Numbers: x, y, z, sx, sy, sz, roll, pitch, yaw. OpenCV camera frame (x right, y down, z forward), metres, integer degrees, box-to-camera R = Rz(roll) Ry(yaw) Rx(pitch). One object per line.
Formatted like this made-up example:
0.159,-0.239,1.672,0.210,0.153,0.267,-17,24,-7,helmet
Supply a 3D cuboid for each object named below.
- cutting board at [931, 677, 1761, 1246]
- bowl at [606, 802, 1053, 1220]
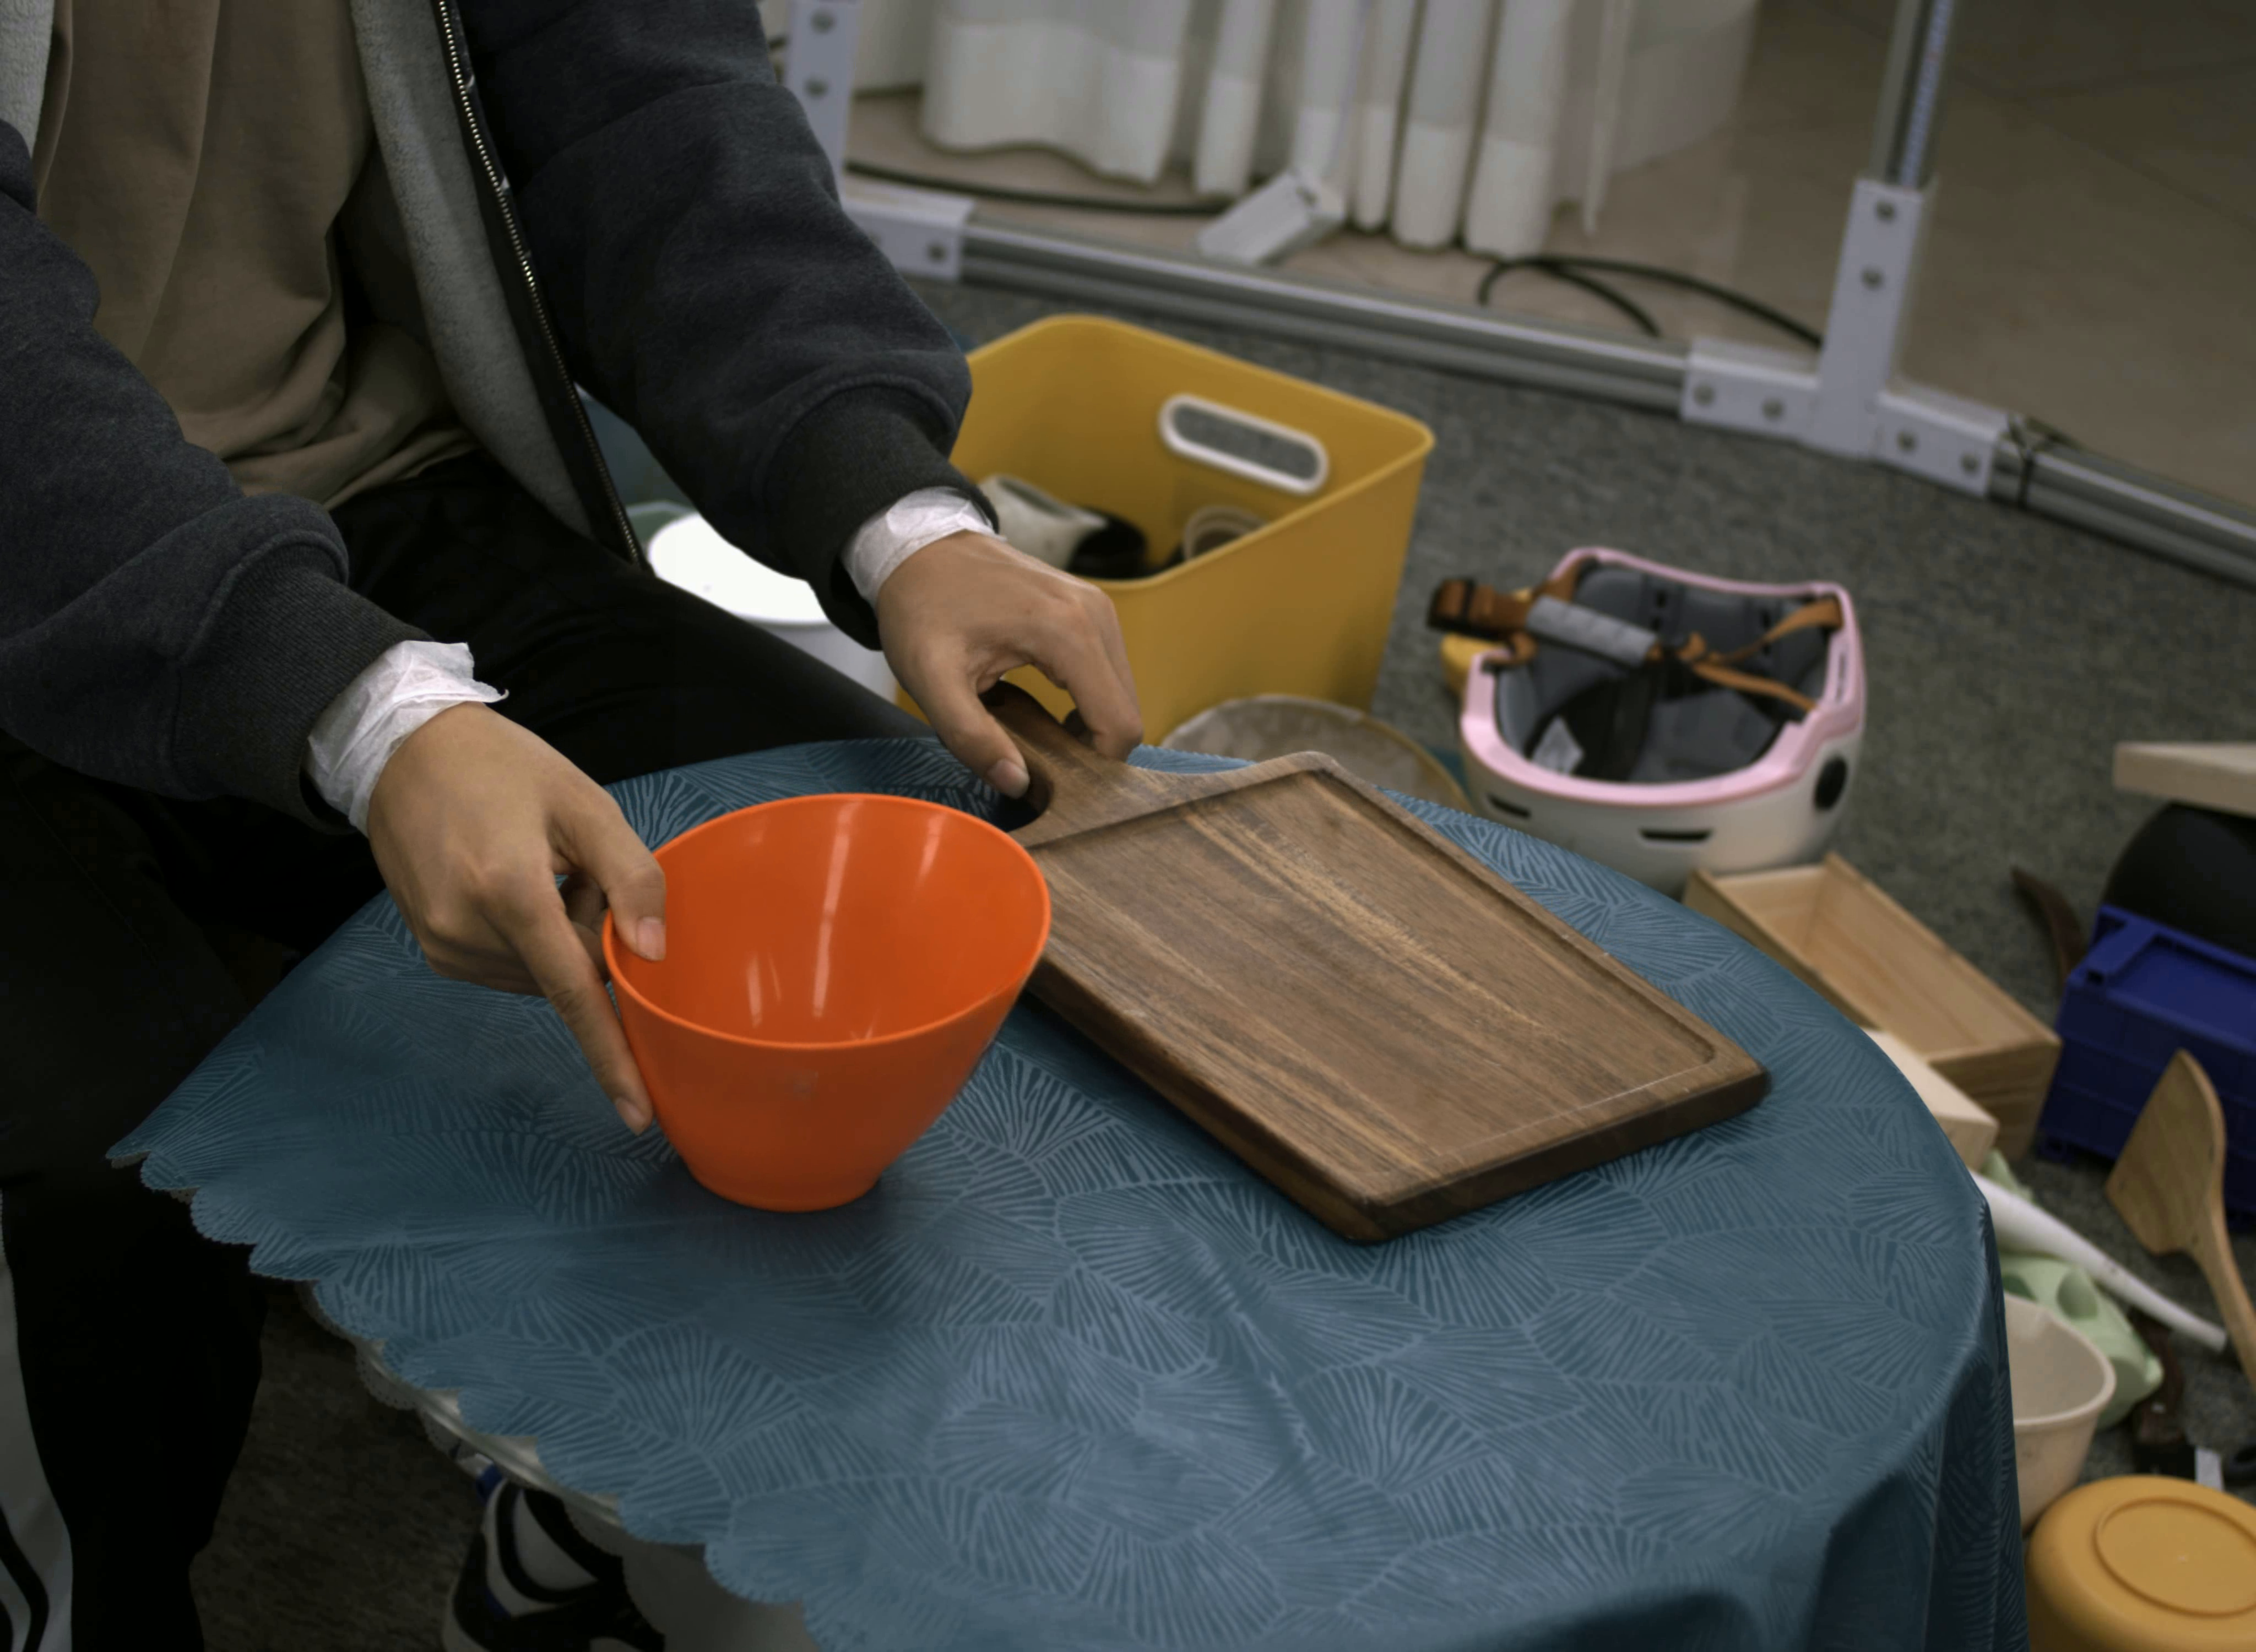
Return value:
0.044,0.032,1.945,0.200,0.023,0.355,-16,38,-37,cutting board
-0.102,0.068,1.778,0.147,0.104,0.149,4,27,-3,bowl
